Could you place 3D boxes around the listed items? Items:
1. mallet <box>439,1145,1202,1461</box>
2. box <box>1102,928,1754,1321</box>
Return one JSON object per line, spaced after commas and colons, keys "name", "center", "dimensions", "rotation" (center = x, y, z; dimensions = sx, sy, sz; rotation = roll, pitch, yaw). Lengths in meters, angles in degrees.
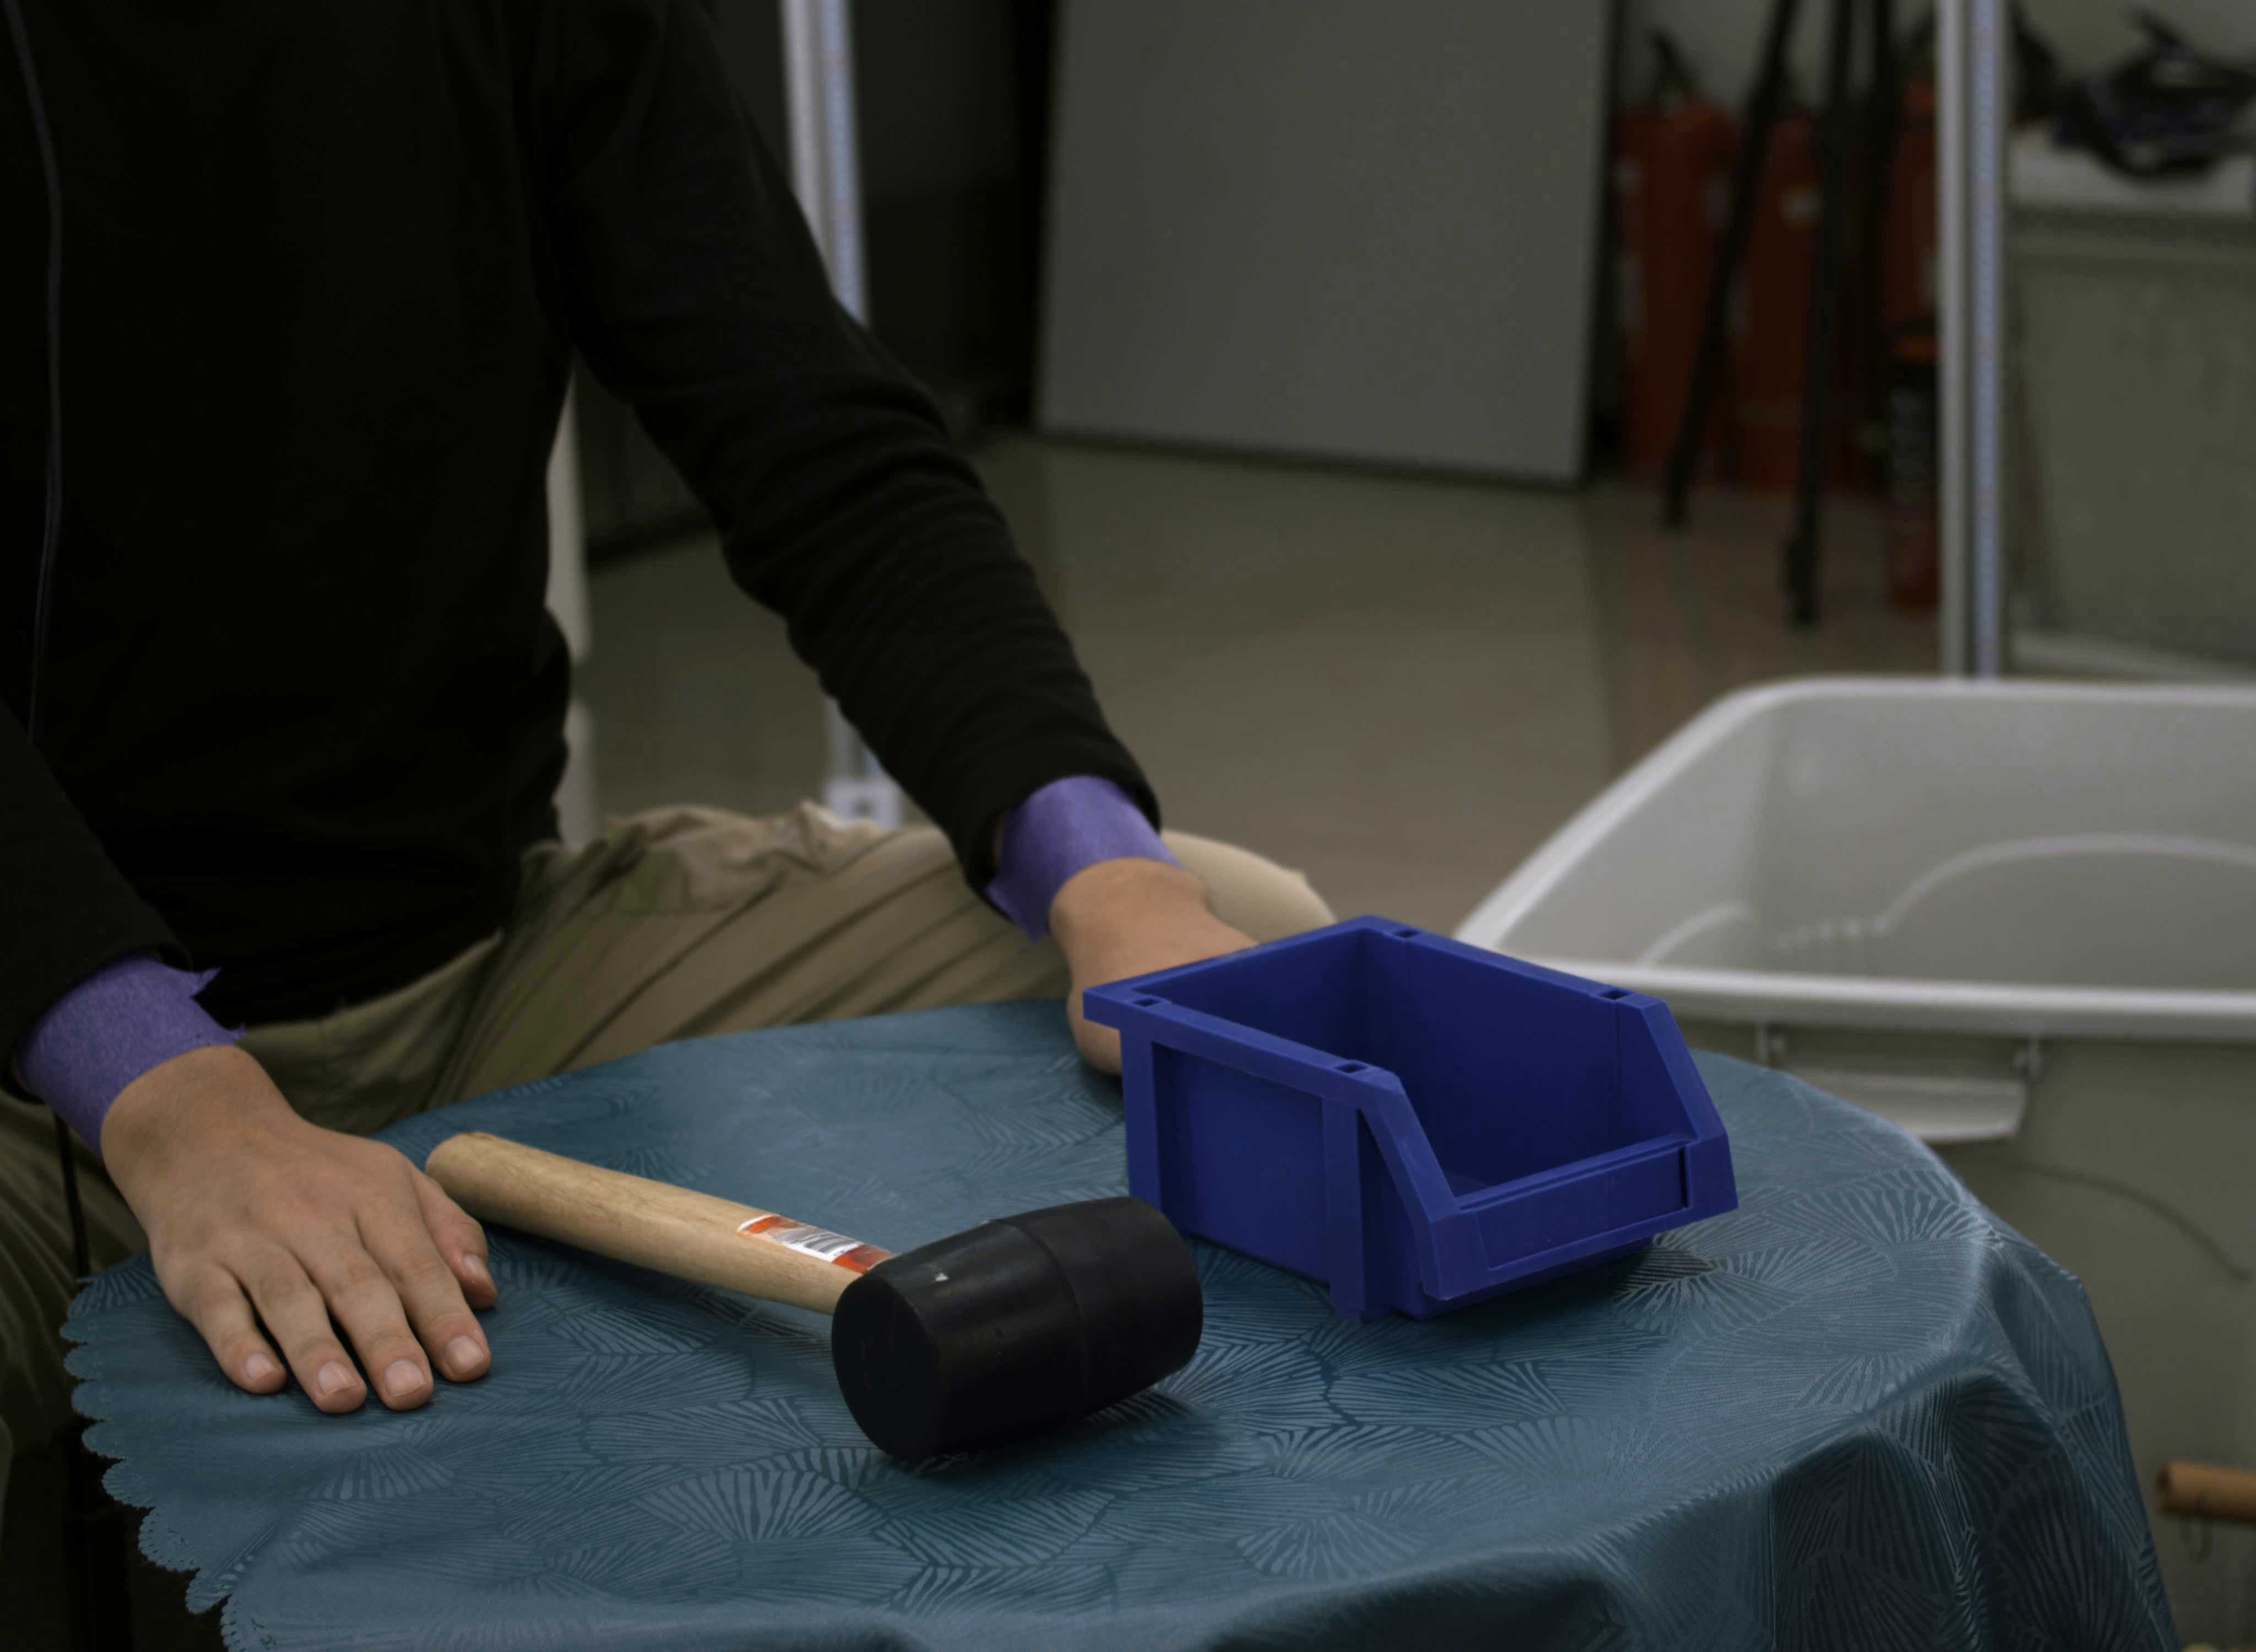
{"name": "mallet", "center": [-0.116, 0.126, 1.666], "dimensions": [0.099, 0.065, 0.342], "rotation": [-11, 14, -35]}
{"name": "box", "center": [0.094, 0.093, 1.687], "dimensions": [0.122, 0.083, 0.181], "rotation": [-13, 13, -32]}
